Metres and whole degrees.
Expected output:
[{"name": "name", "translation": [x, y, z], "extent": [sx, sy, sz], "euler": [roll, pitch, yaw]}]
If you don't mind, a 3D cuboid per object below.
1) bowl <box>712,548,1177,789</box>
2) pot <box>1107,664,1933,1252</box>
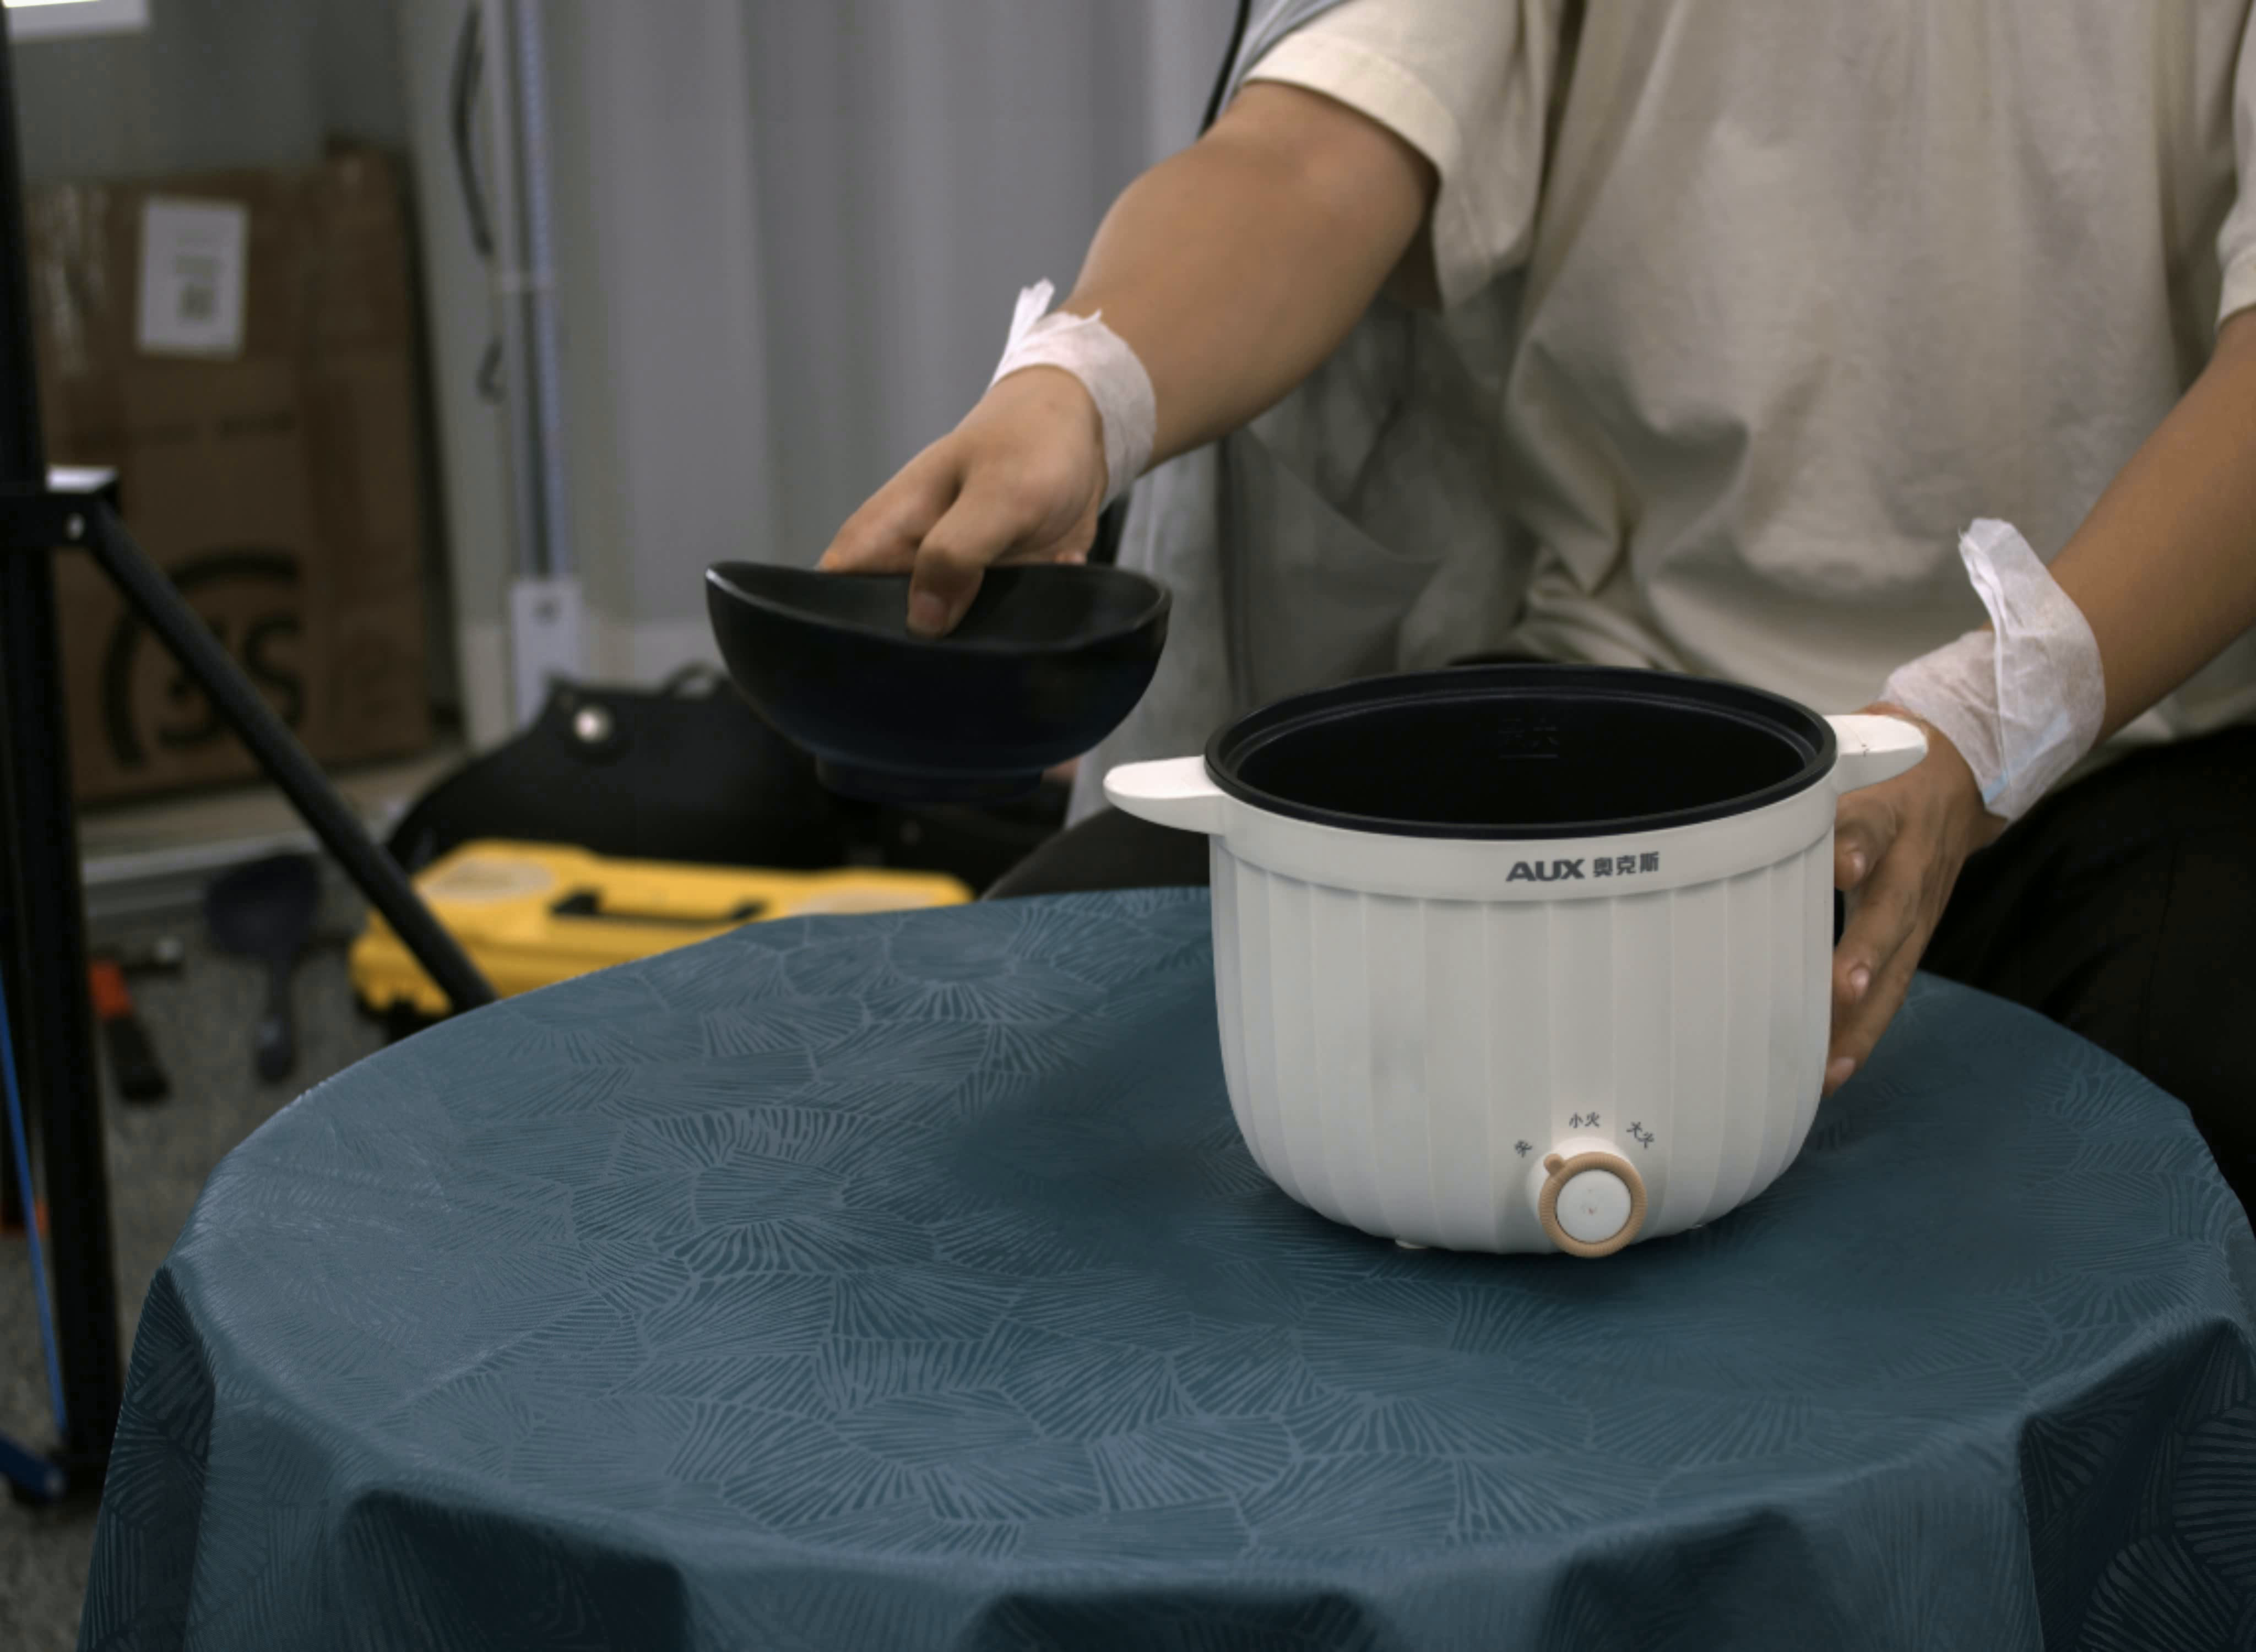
[{"name": "bowl", "translation": [-0.057, -0.048, 1.588], "extent": [0.135, 0.067, 0.172], "euler": [-1, 11, -15]}, {"name": "pot", "translation": [0.116, 0.041, 1.522], "extent": [0.238, 0.143, 0.192], "euler": [-5, 12, -5]}]
